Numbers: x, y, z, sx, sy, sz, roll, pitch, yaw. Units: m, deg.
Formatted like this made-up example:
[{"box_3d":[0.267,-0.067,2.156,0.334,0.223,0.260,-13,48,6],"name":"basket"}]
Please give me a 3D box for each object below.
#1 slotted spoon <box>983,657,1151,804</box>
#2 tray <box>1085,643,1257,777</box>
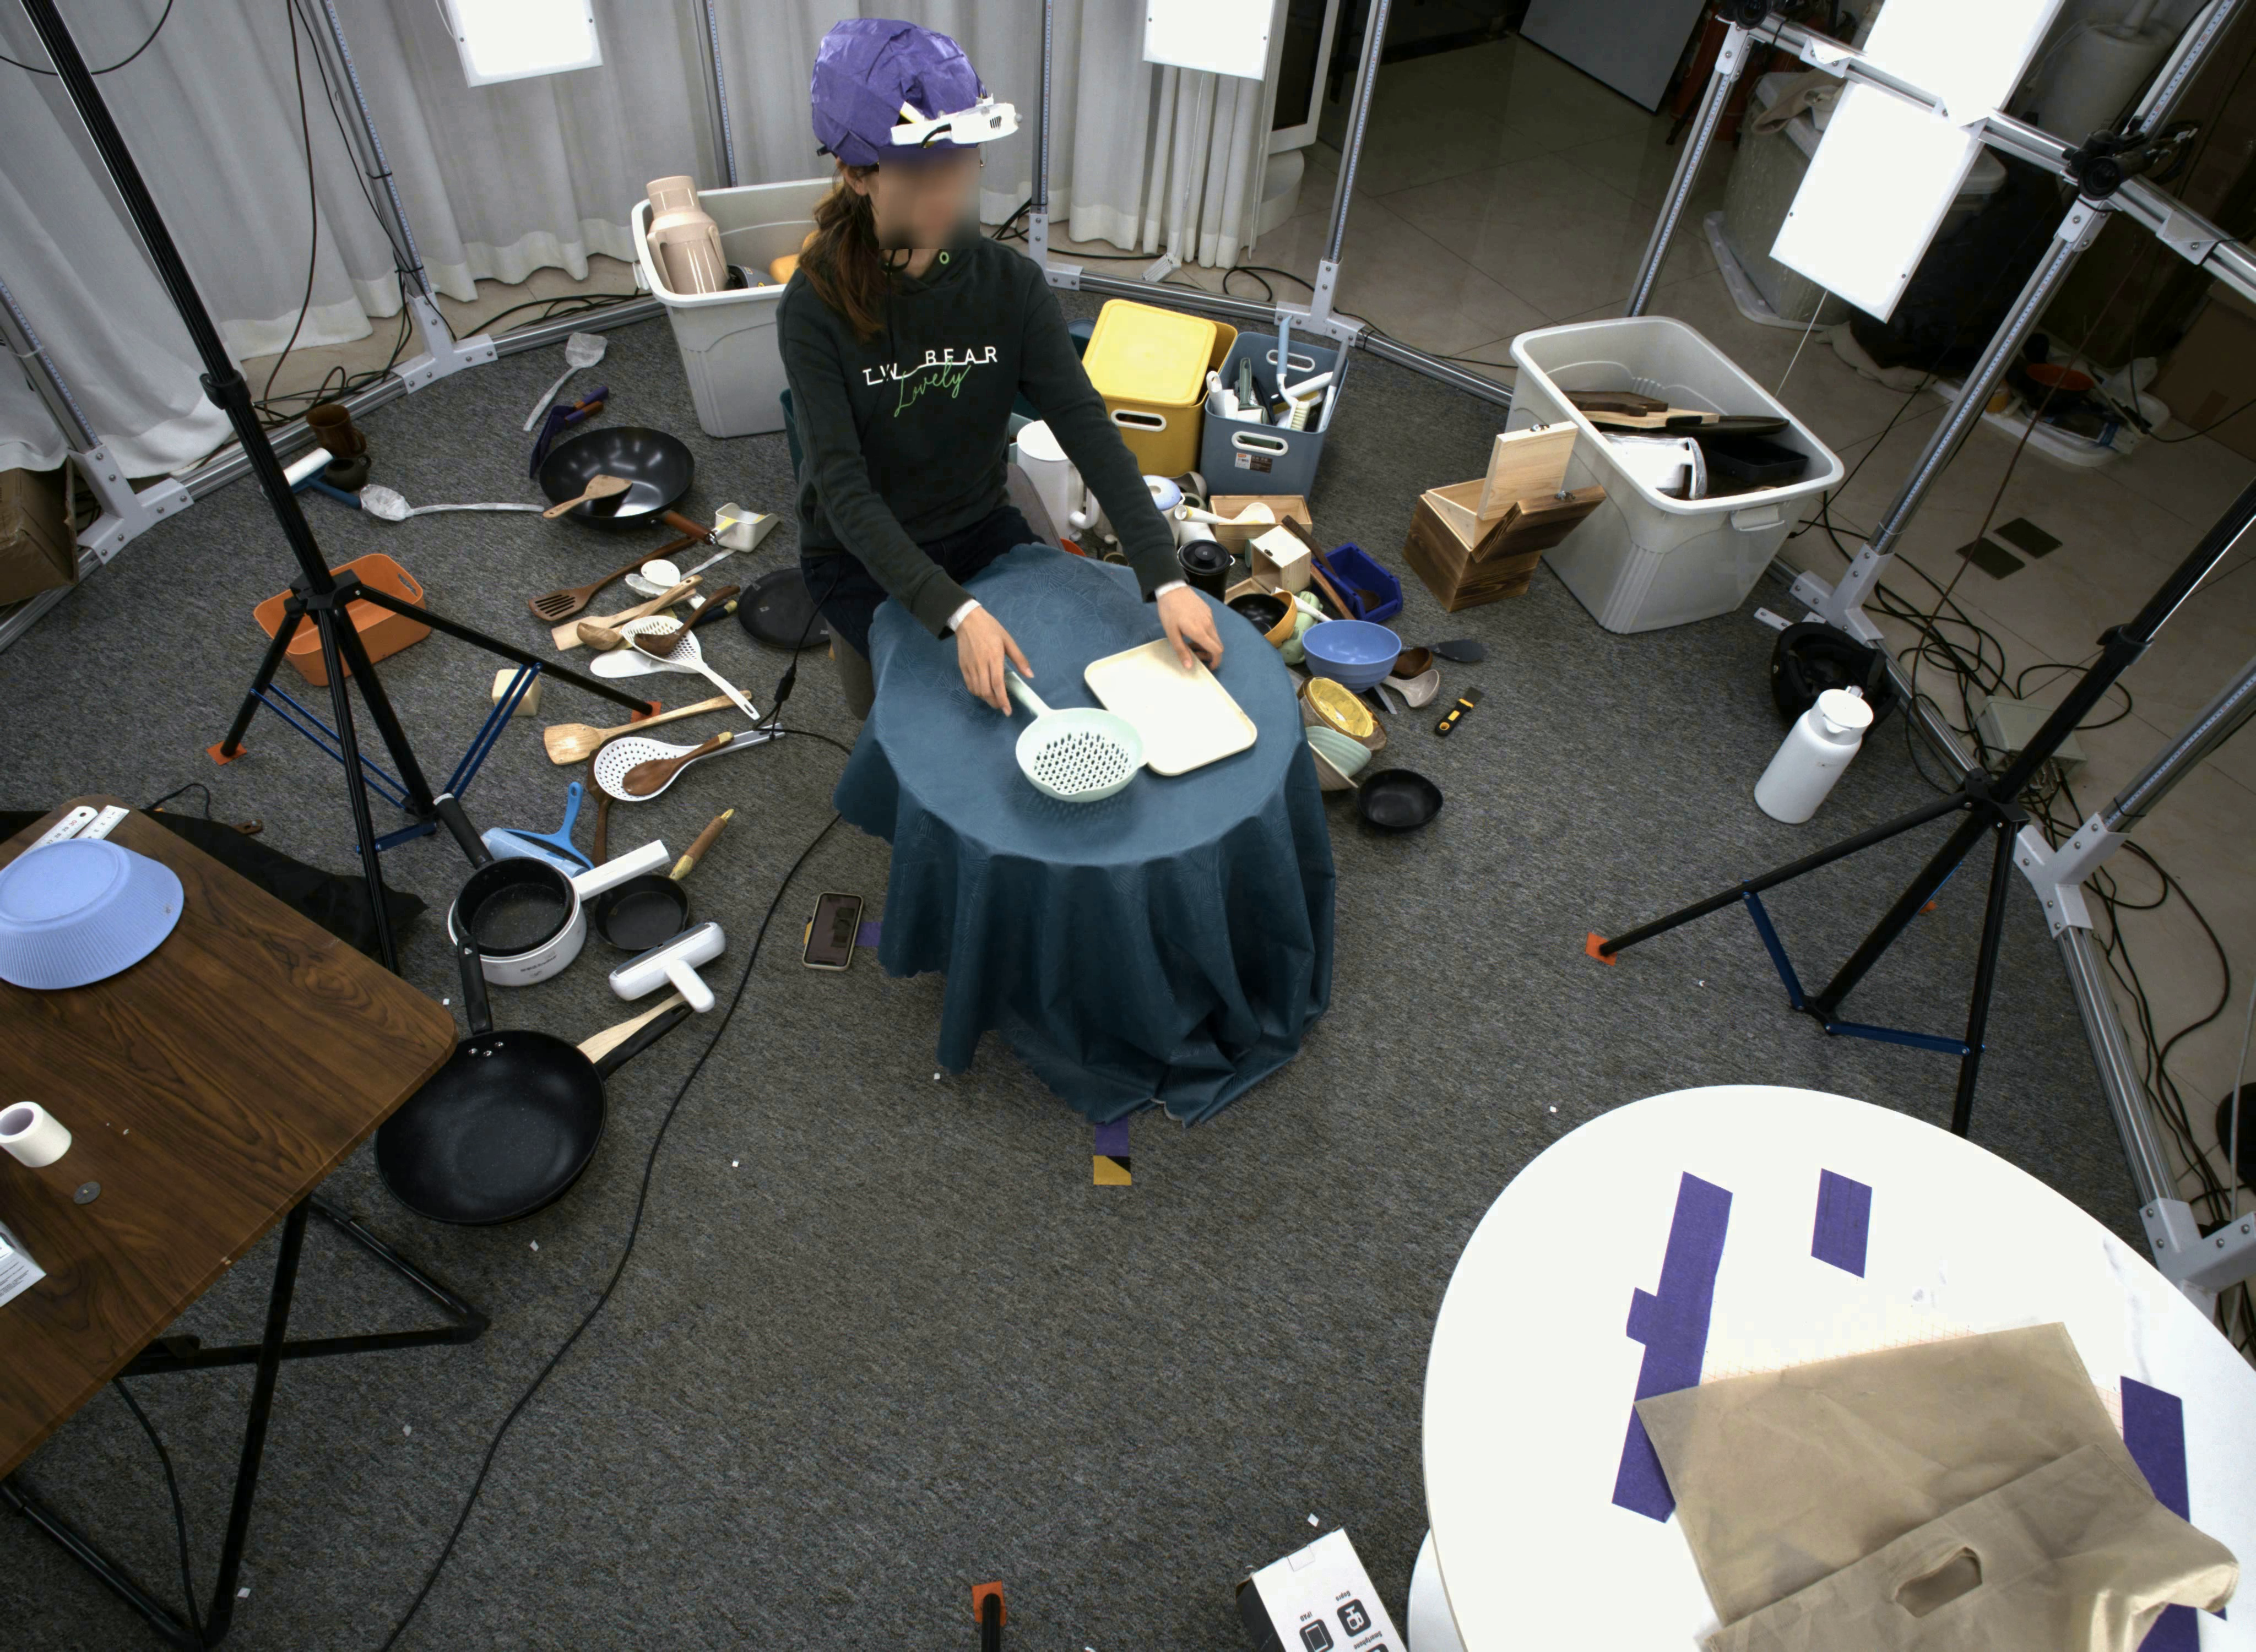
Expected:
[{"box_3d":[-0.113,-0.149,1.765,0.170,0.073,0.366,-22,53,-23],"name":"slotted spoon"},{"box_3d":[0.059,-0.167,1.823,0.172,0.017,0.245,-21,52,-21],"name":"tray"}]
